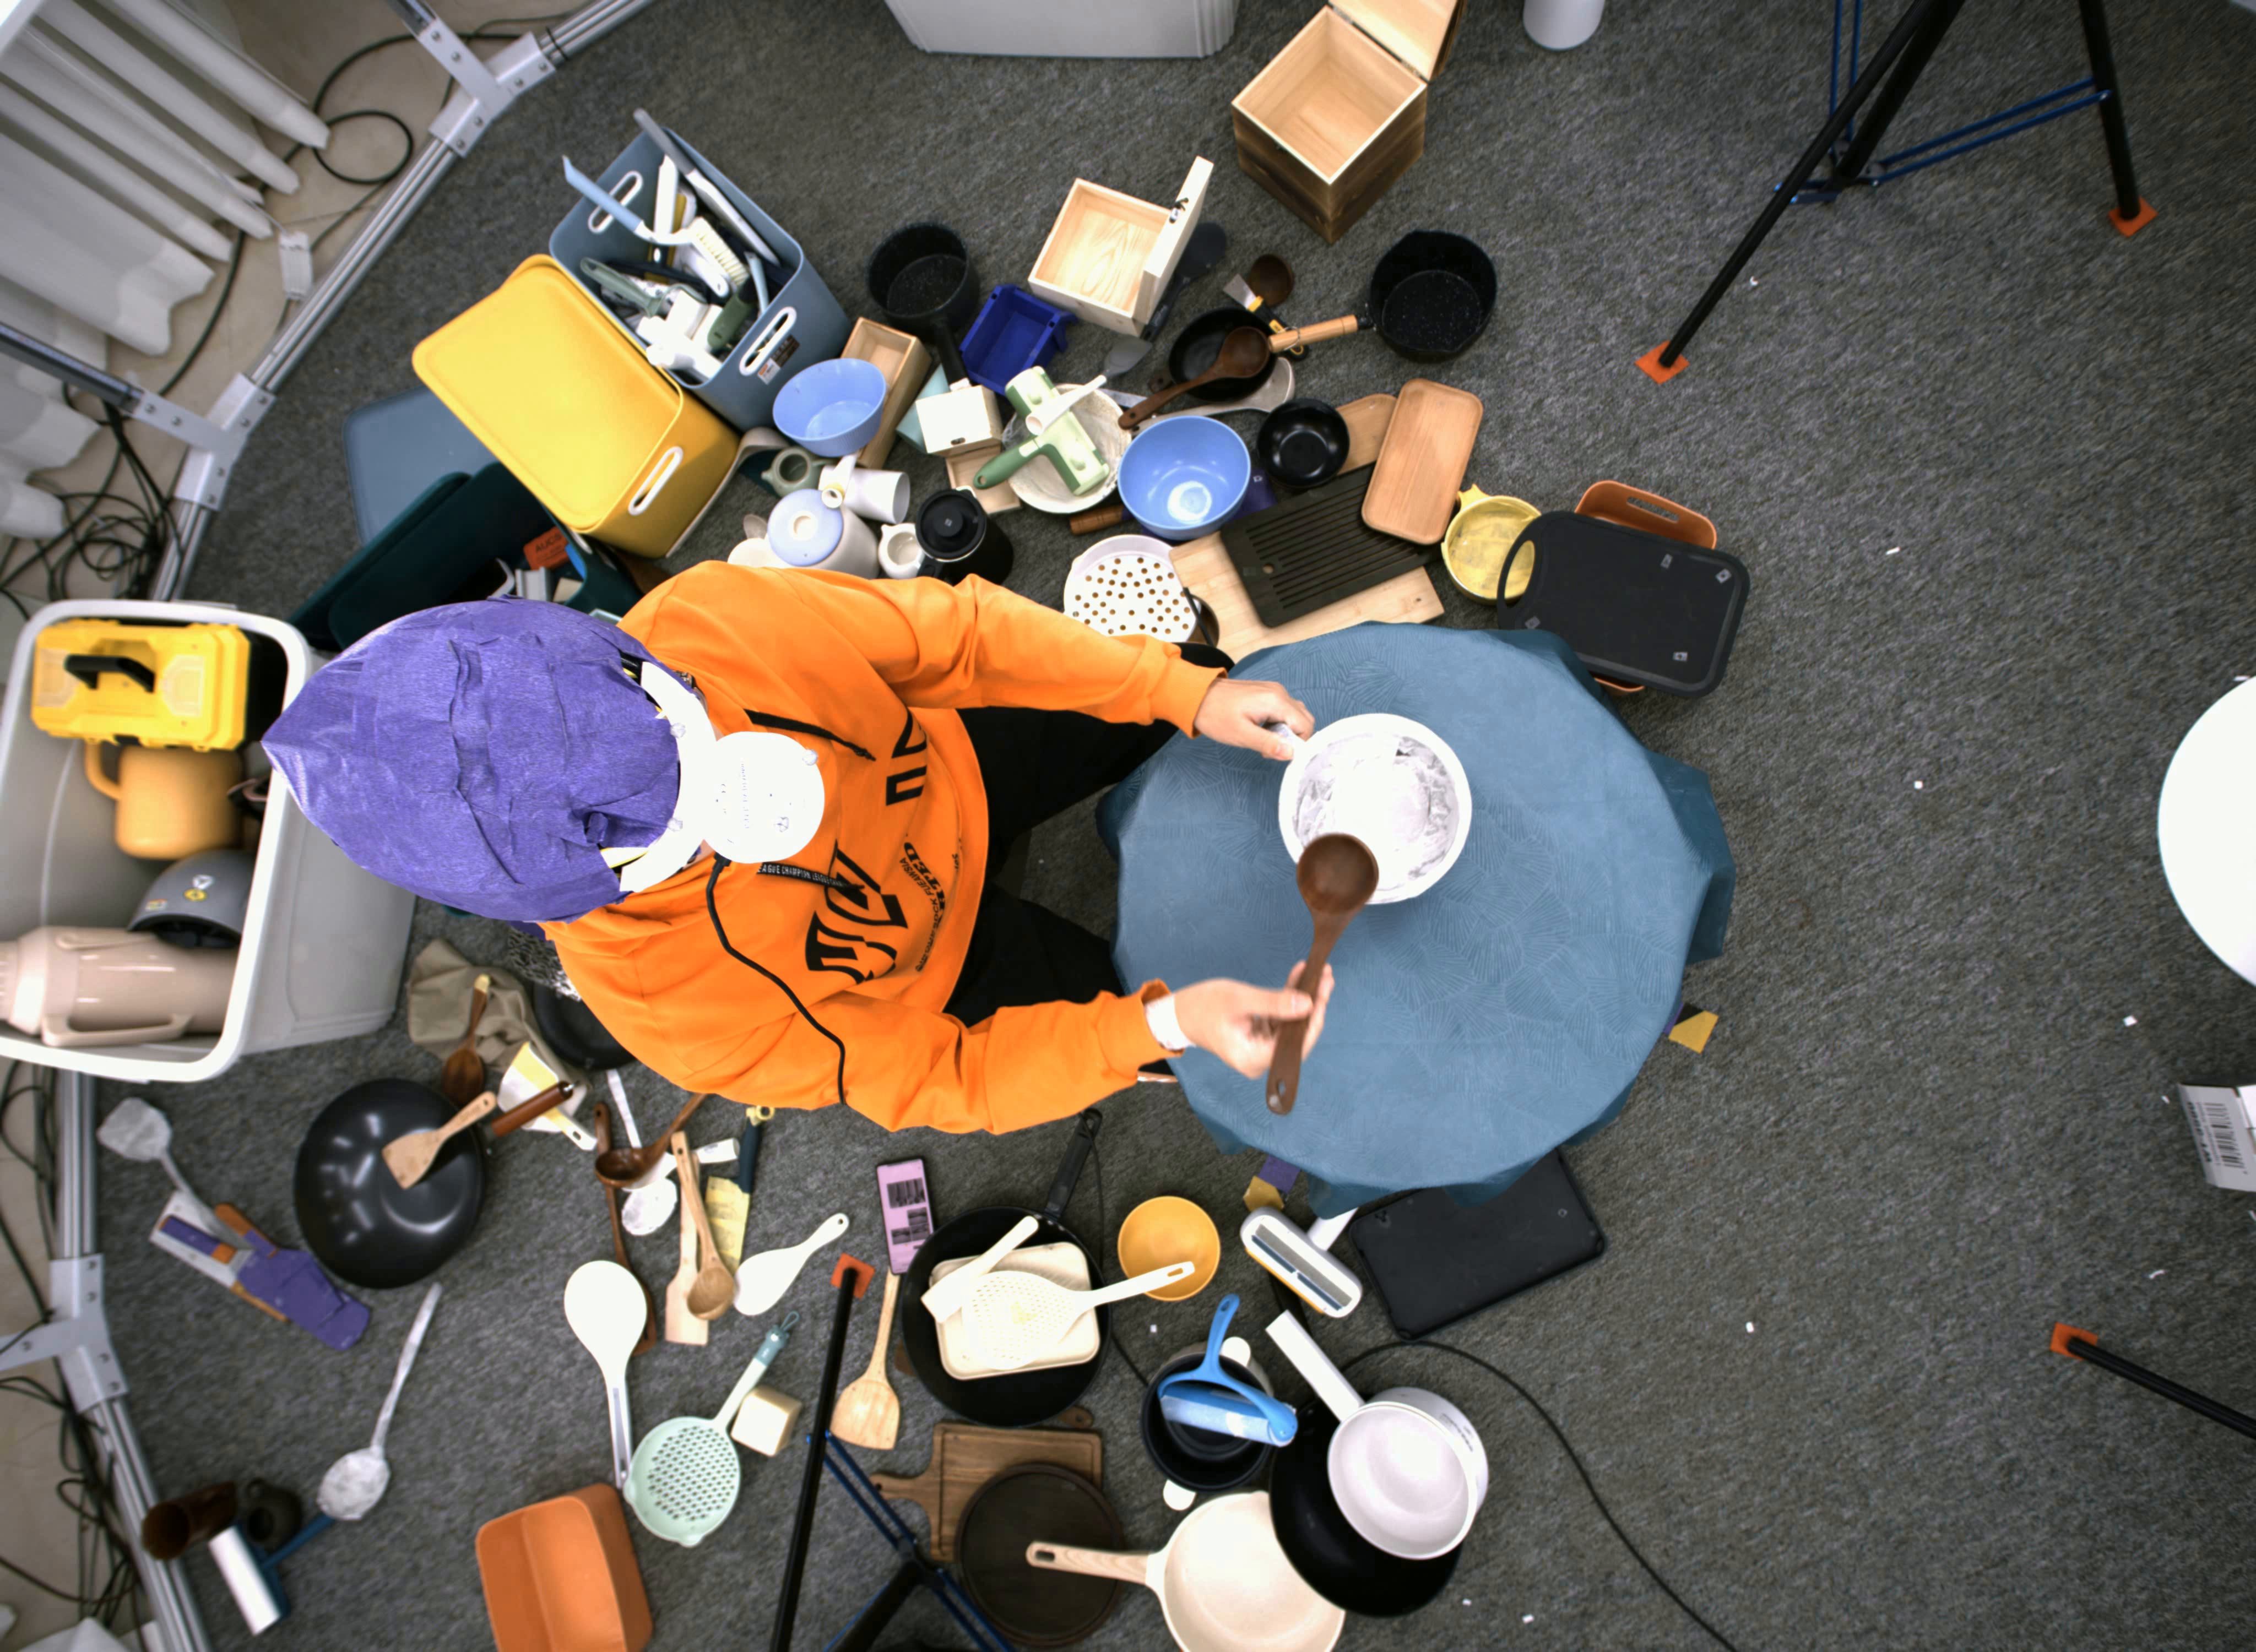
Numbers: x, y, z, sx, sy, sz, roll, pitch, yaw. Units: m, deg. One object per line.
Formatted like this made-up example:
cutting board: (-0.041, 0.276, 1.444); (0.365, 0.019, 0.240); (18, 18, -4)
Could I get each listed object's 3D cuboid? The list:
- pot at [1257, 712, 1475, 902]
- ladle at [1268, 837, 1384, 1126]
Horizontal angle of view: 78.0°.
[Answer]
pot: (0.221, -0.033, 1.341); (0.233, 0.136, 0.180); (37, 97, 10)
ladle: (0.157, 0.125, 1.179); (0.077, 0.066, 0.254); (4, 57, 31)
